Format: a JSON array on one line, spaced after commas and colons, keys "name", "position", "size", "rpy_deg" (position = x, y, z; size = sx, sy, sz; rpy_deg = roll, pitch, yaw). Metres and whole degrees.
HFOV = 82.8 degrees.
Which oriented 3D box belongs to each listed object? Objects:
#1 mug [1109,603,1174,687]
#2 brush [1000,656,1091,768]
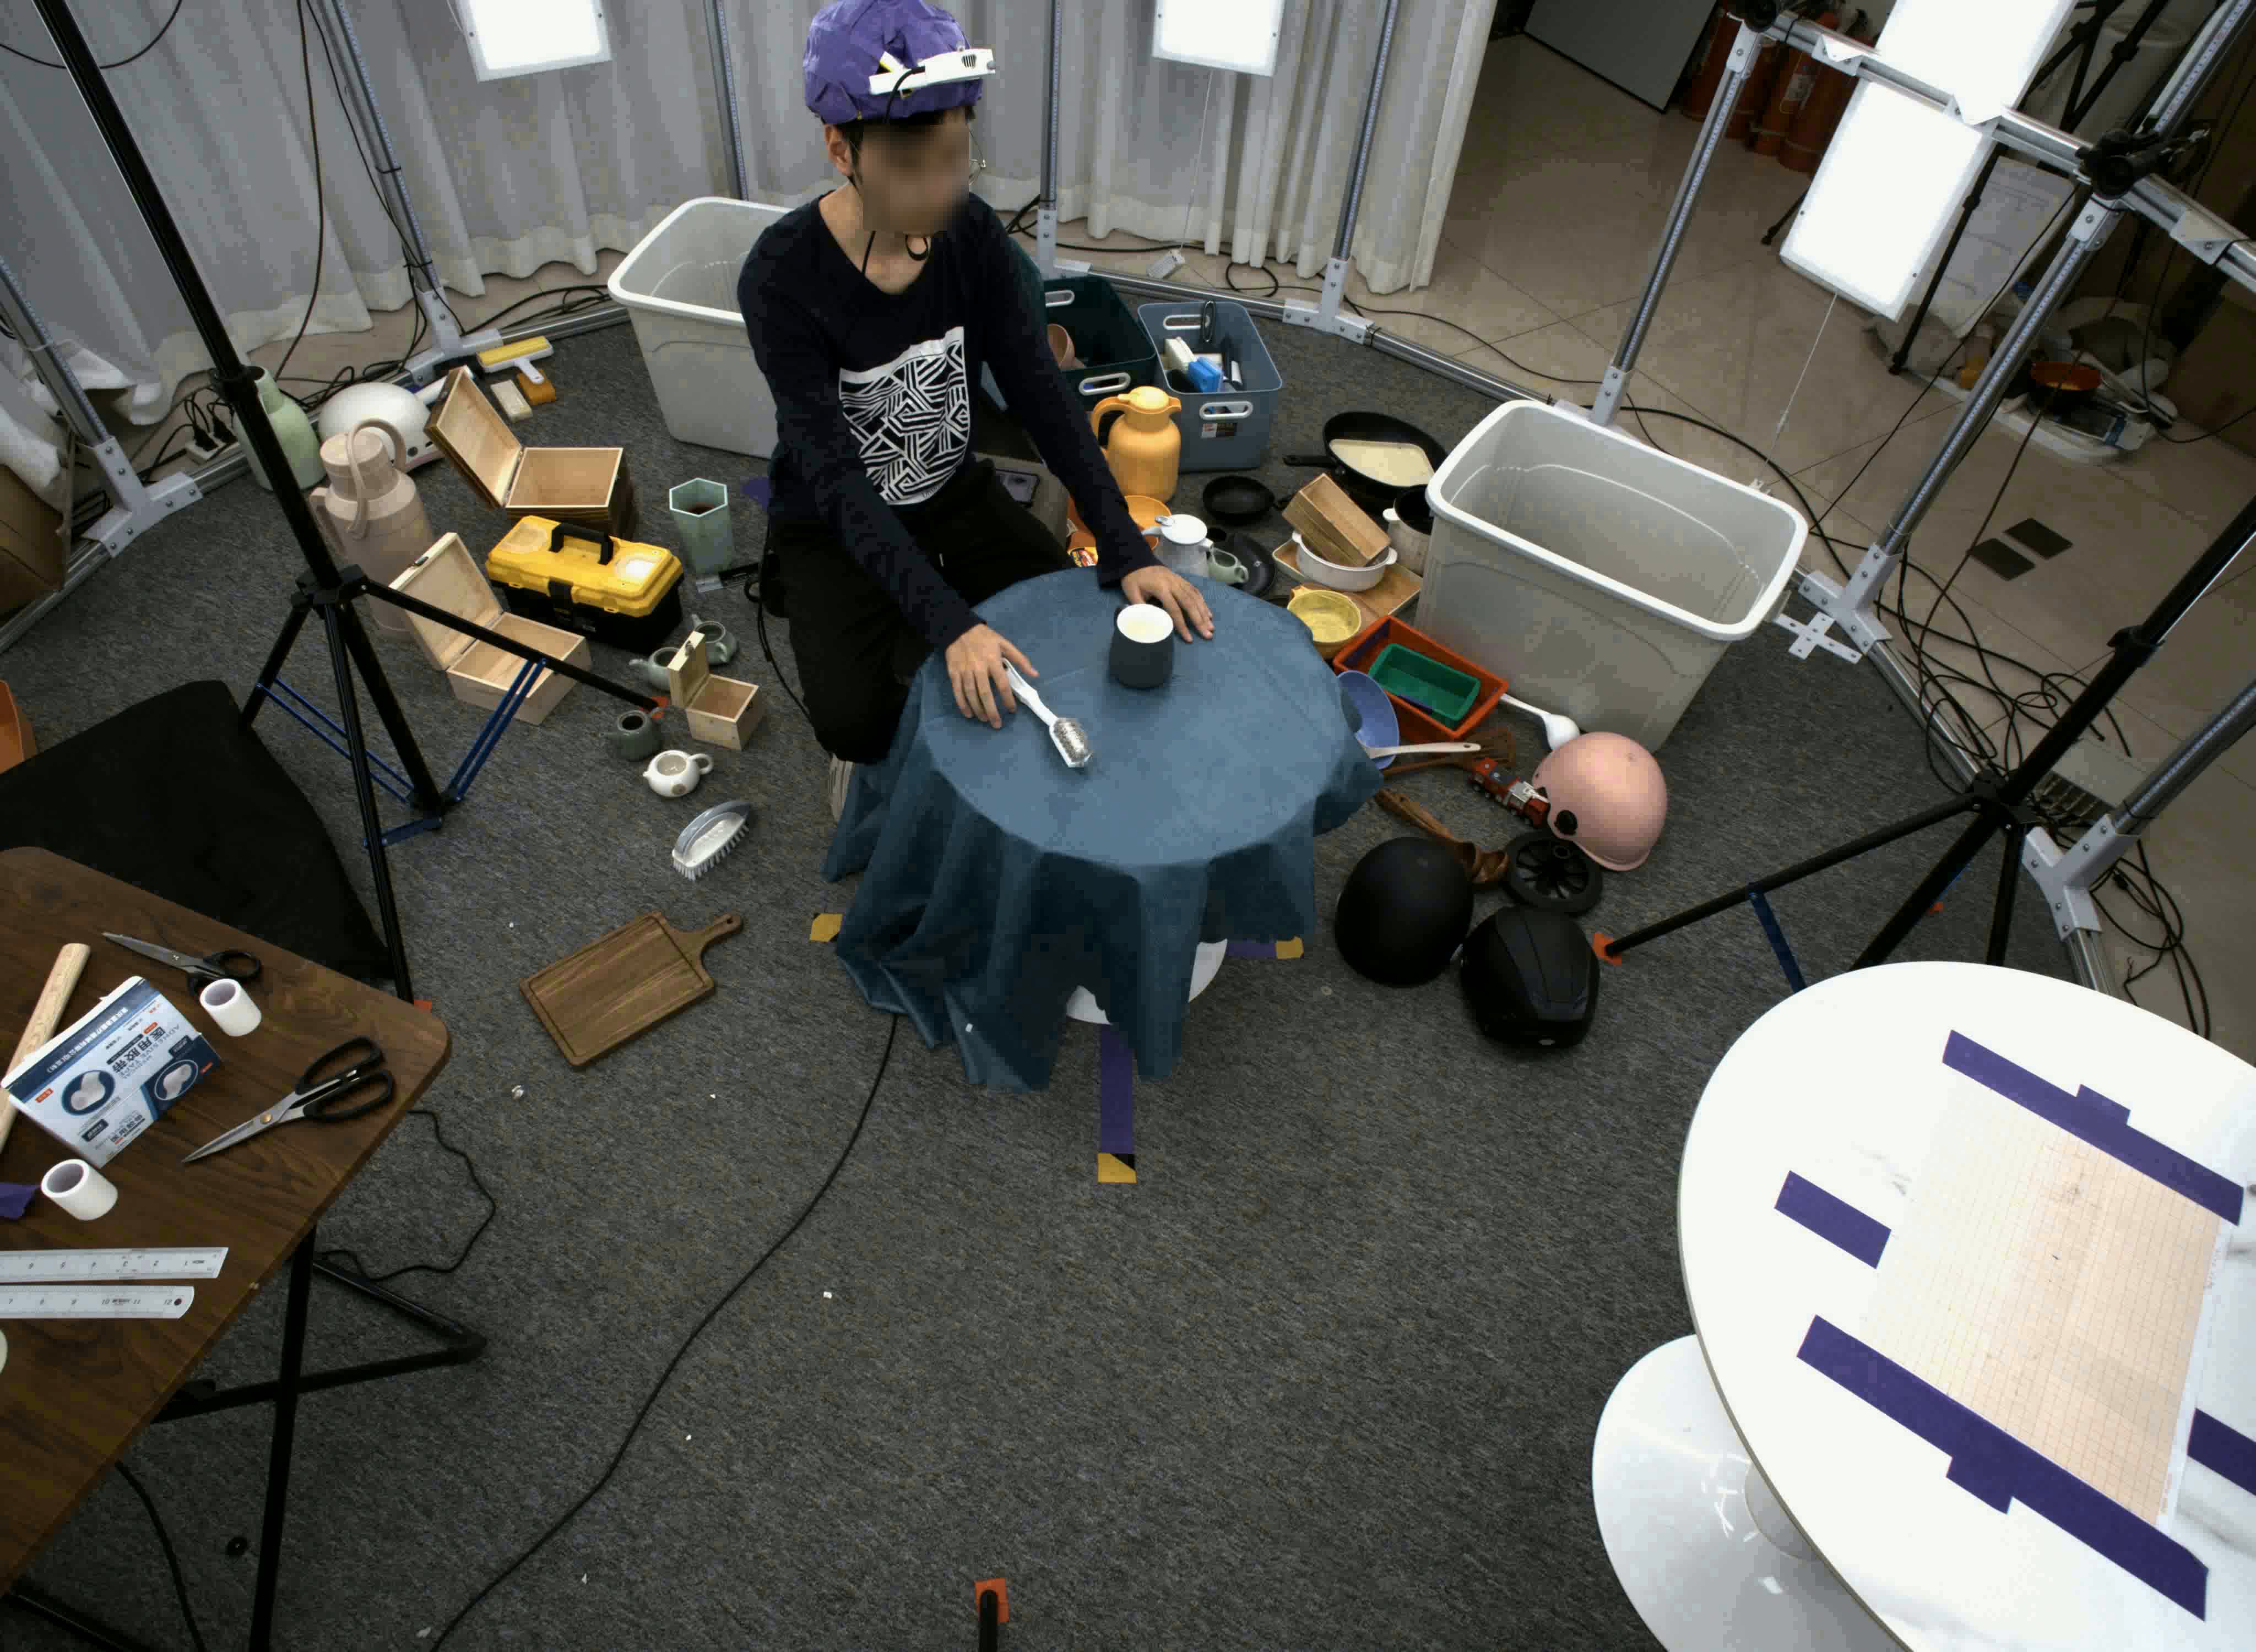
[{"name": "mug", "position": [0.015, -0.268, 1.841], "size": [0.093, 0.088, 0.126], "rpy_deg": [-16, 53, -19]}, {"name": "brush", "position": [-0.119, -0.171, 1.778], "size": [0.034, 0.049, 0.249], "rpy_deg": [-23, 54, -17]}]
